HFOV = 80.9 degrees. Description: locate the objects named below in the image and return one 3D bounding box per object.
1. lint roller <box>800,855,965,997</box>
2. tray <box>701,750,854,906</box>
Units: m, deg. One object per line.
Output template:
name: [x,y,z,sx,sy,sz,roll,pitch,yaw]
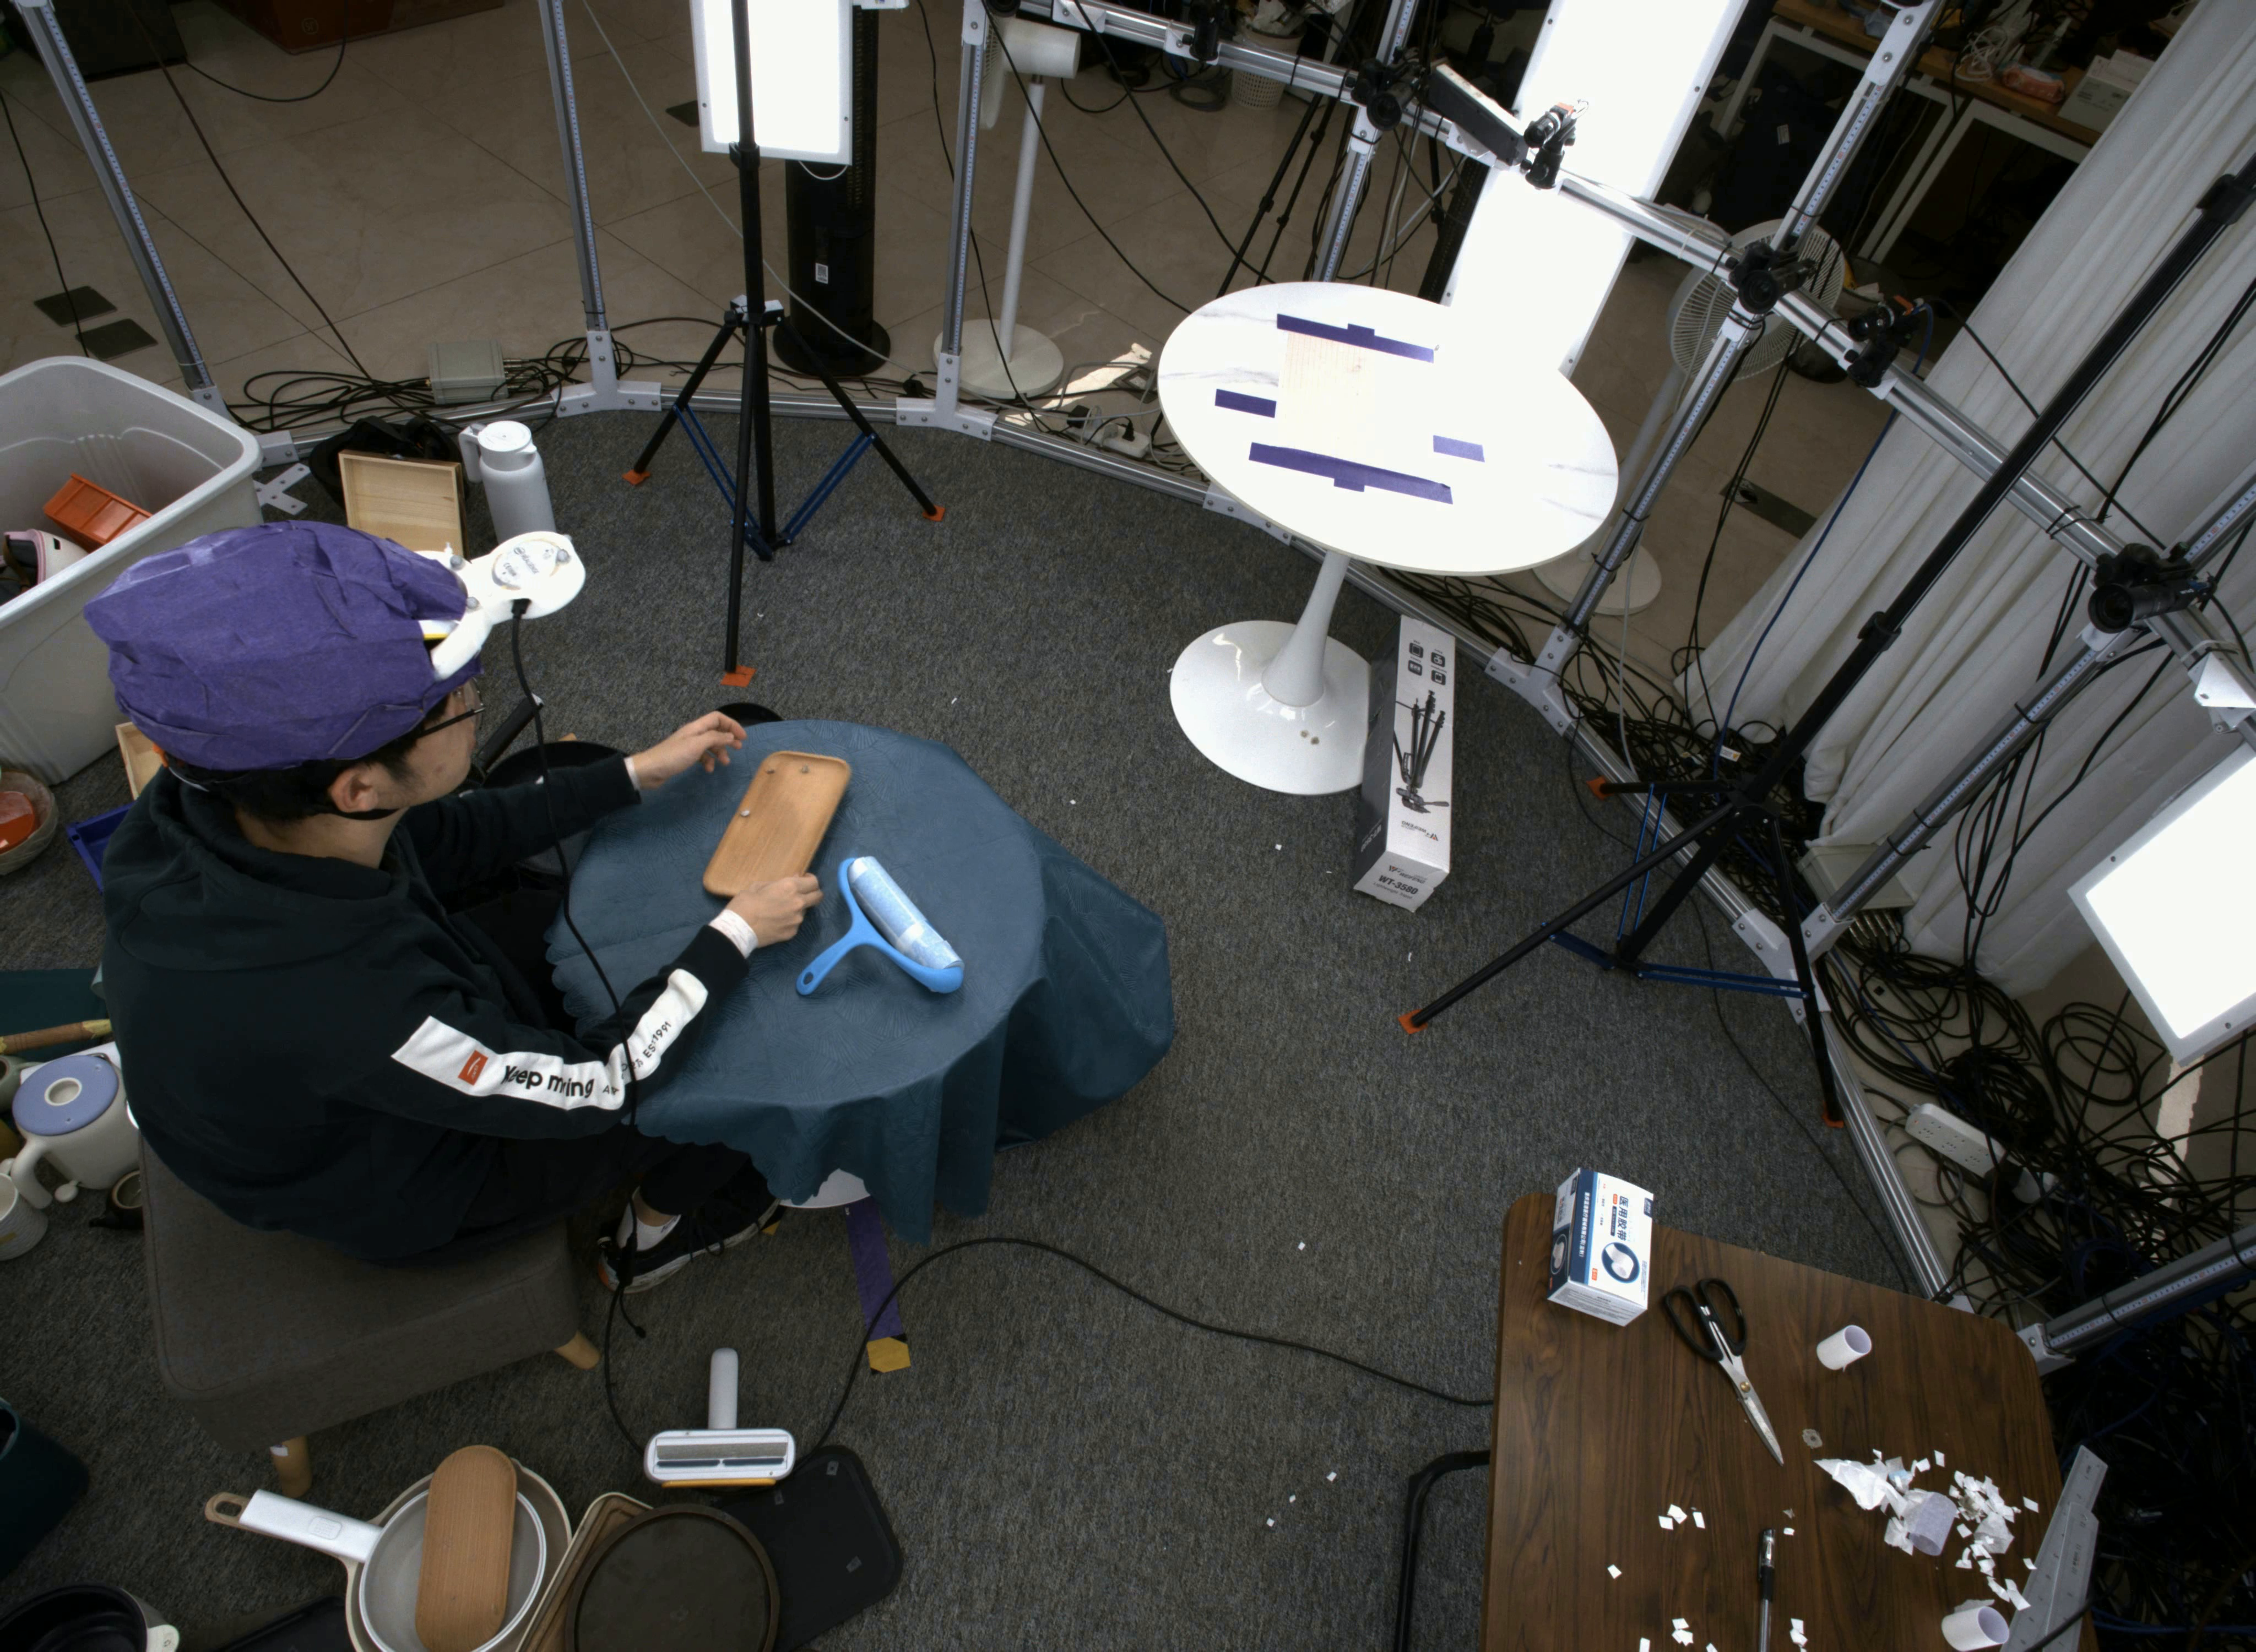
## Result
lint roller: [-0.327,0.146,1.611,0.181,0.069,0.224,-34,70,-33]
tray: [-0.456,-0.002,1.699,0.128,0.023,0.248,11,52,10]
